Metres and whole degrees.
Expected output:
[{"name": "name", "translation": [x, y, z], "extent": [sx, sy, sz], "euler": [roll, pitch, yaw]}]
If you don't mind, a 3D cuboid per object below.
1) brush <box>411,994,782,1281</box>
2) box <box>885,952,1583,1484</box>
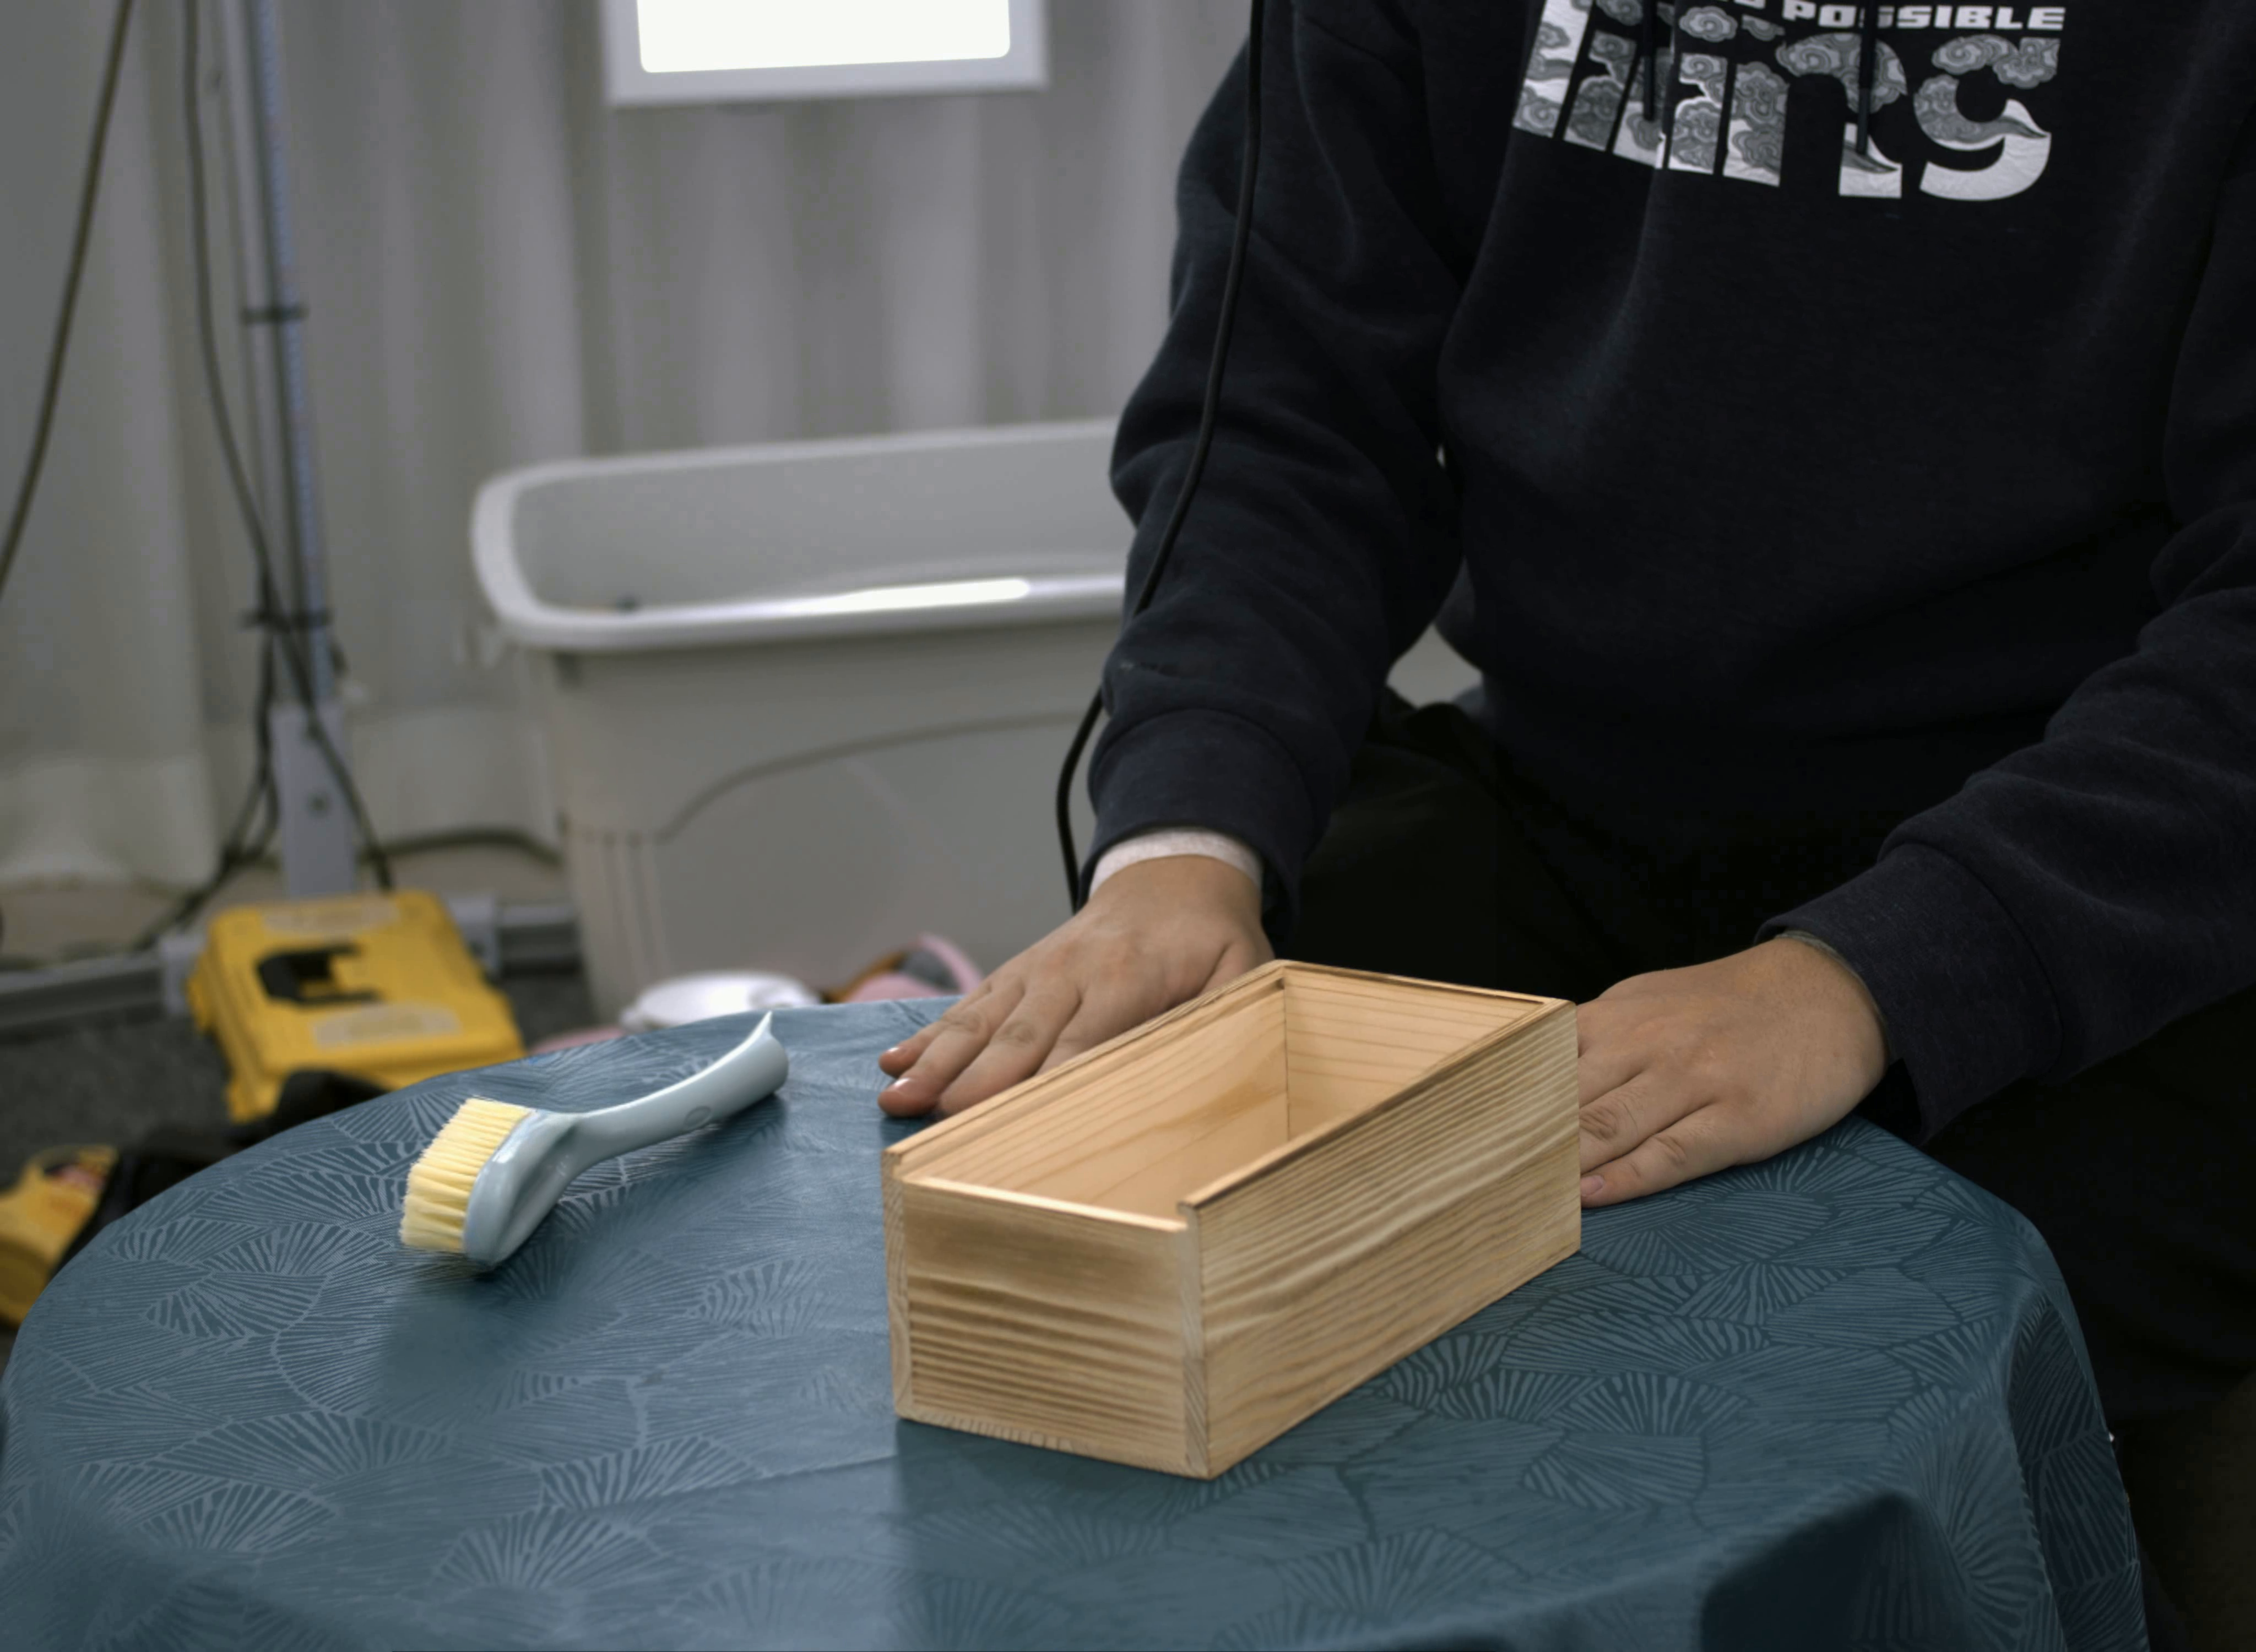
[{"name": "brush", "translation": [-0.168, 0.093, 1.755], "extent": [0.050, 0.037, 0.229], "euler": [11, 19, 19]}, {"name": "box", "translation": [0.035, 0.109, 1.579], "extent": [0.108, 0.080, 0.211], "euler": [7, 18, 32]}]
